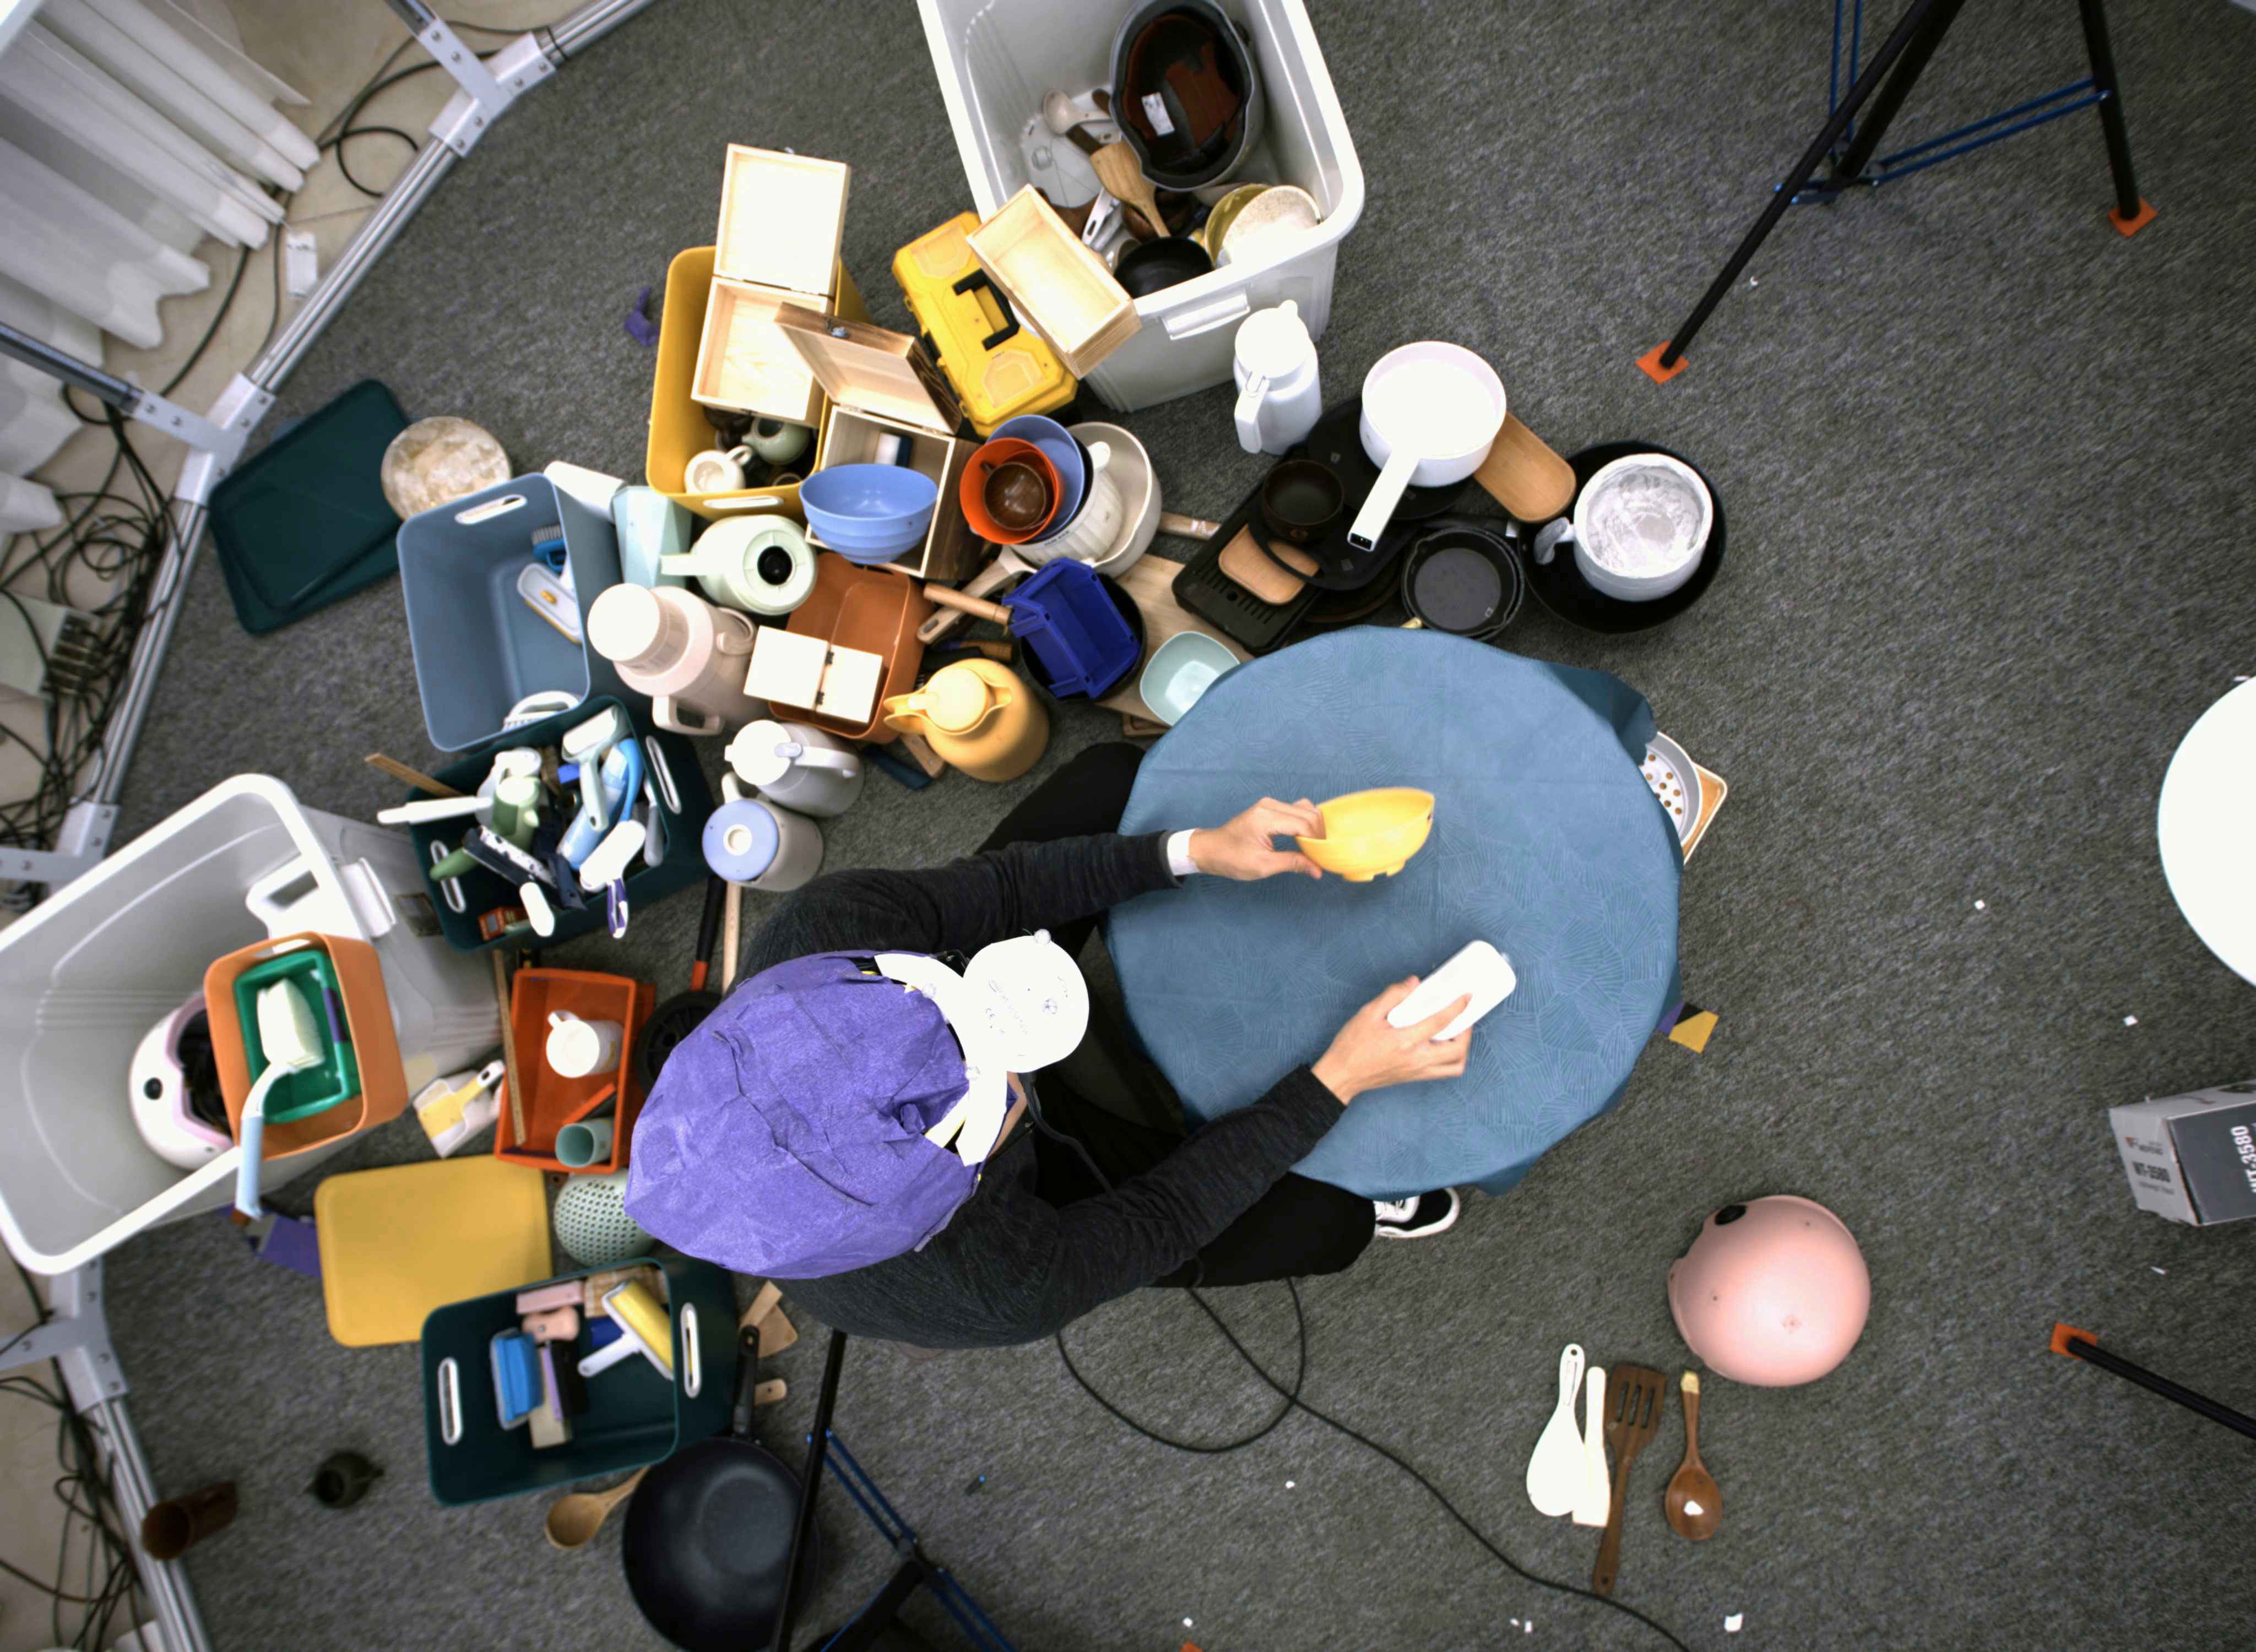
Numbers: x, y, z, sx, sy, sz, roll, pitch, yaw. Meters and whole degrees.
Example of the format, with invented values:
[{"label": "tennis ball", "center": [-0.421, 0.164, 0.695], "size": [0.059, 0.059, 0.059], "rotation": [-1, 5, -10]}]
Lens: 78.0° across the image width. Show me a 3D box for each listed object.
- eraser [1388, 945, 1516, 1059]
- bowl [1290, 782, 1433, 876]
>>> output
[{"label": "eraser", "center": [0.327, 0.175, 1.400], "size": [0.132, 0.034, 0.063], "rotation": [-37, 98, 6]}, {"label": "bowl", "center": [0.237, 0.008, 1.375], "size": [0.146, 0.142, 0.061], "rotation": [-13, 109, 9]}]
